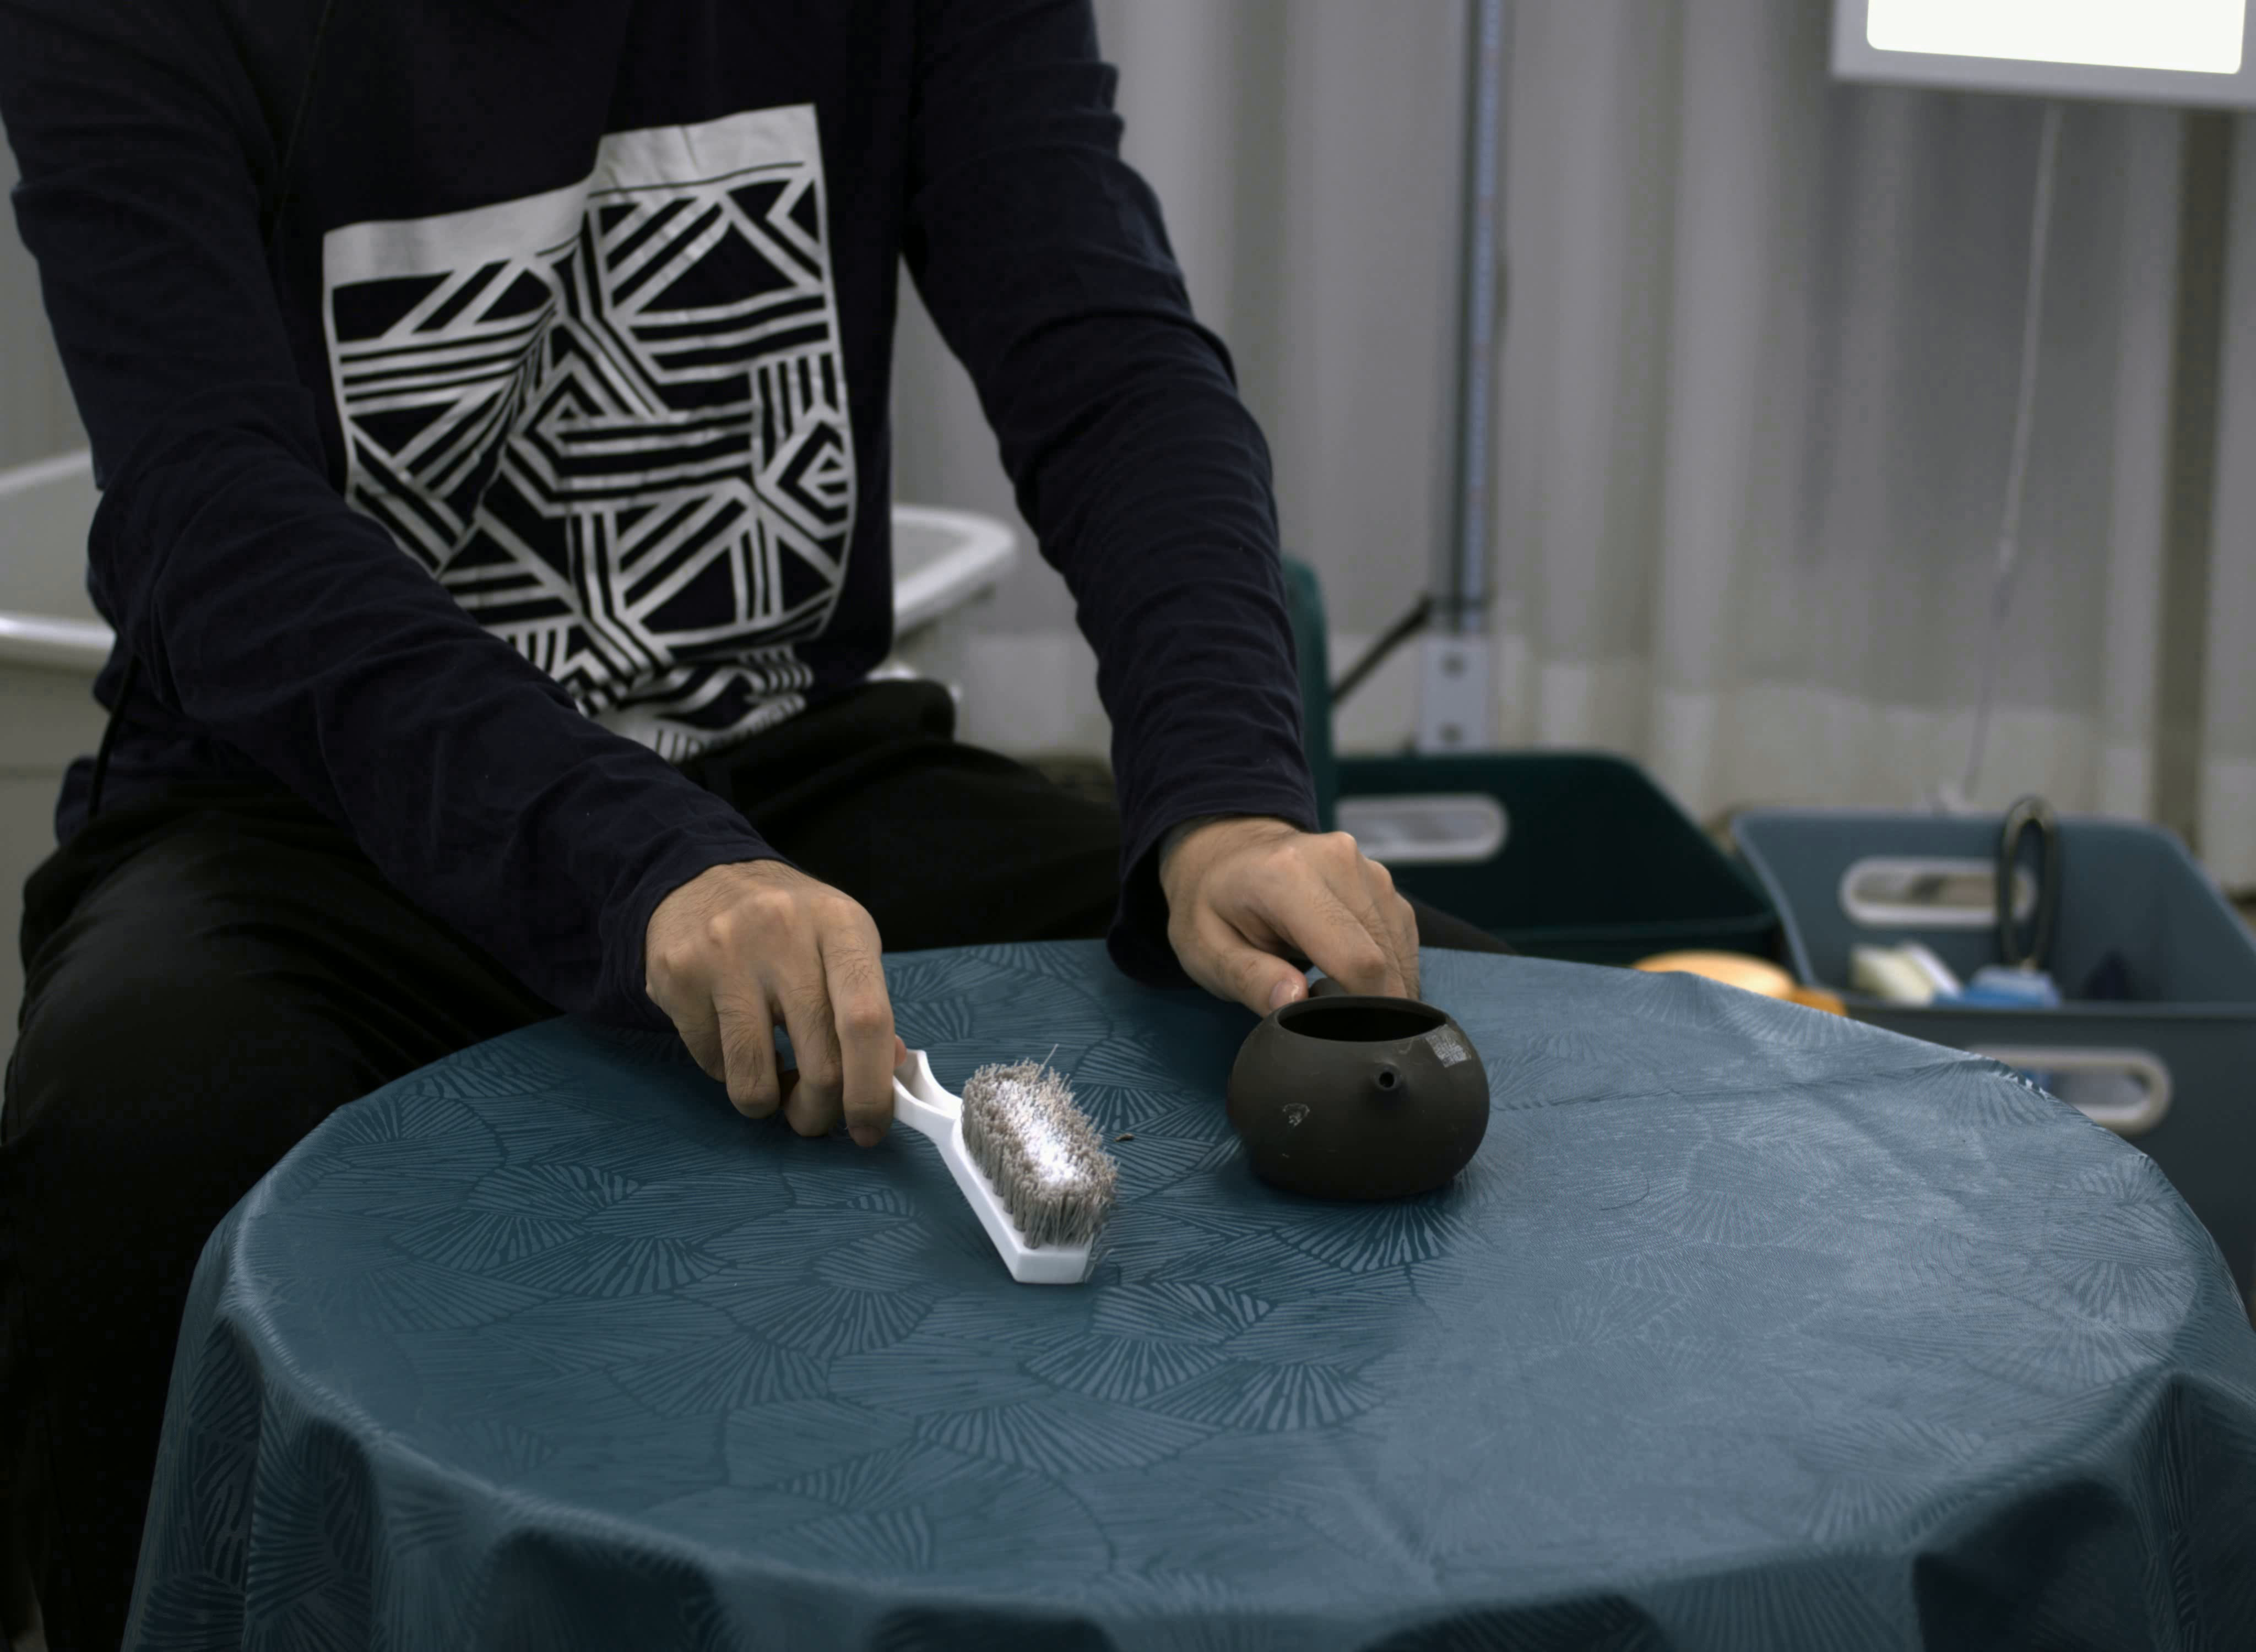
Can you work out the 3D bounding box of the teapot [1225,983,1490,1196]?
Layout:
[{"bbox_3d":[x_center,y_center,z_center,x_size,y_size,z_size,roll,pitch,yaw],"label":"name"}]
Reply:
[{"bbox_3d":[0.070,0.080,1.650,0.083,0.053,0.113,-3,16,-8],"label":"teapot"}]

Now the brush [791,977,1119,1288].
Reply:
[{"bbox_3d":[-0.059,0.075,1.632,0.034,0.051,0.240,-10,24,-19],"label":"brush"}]
